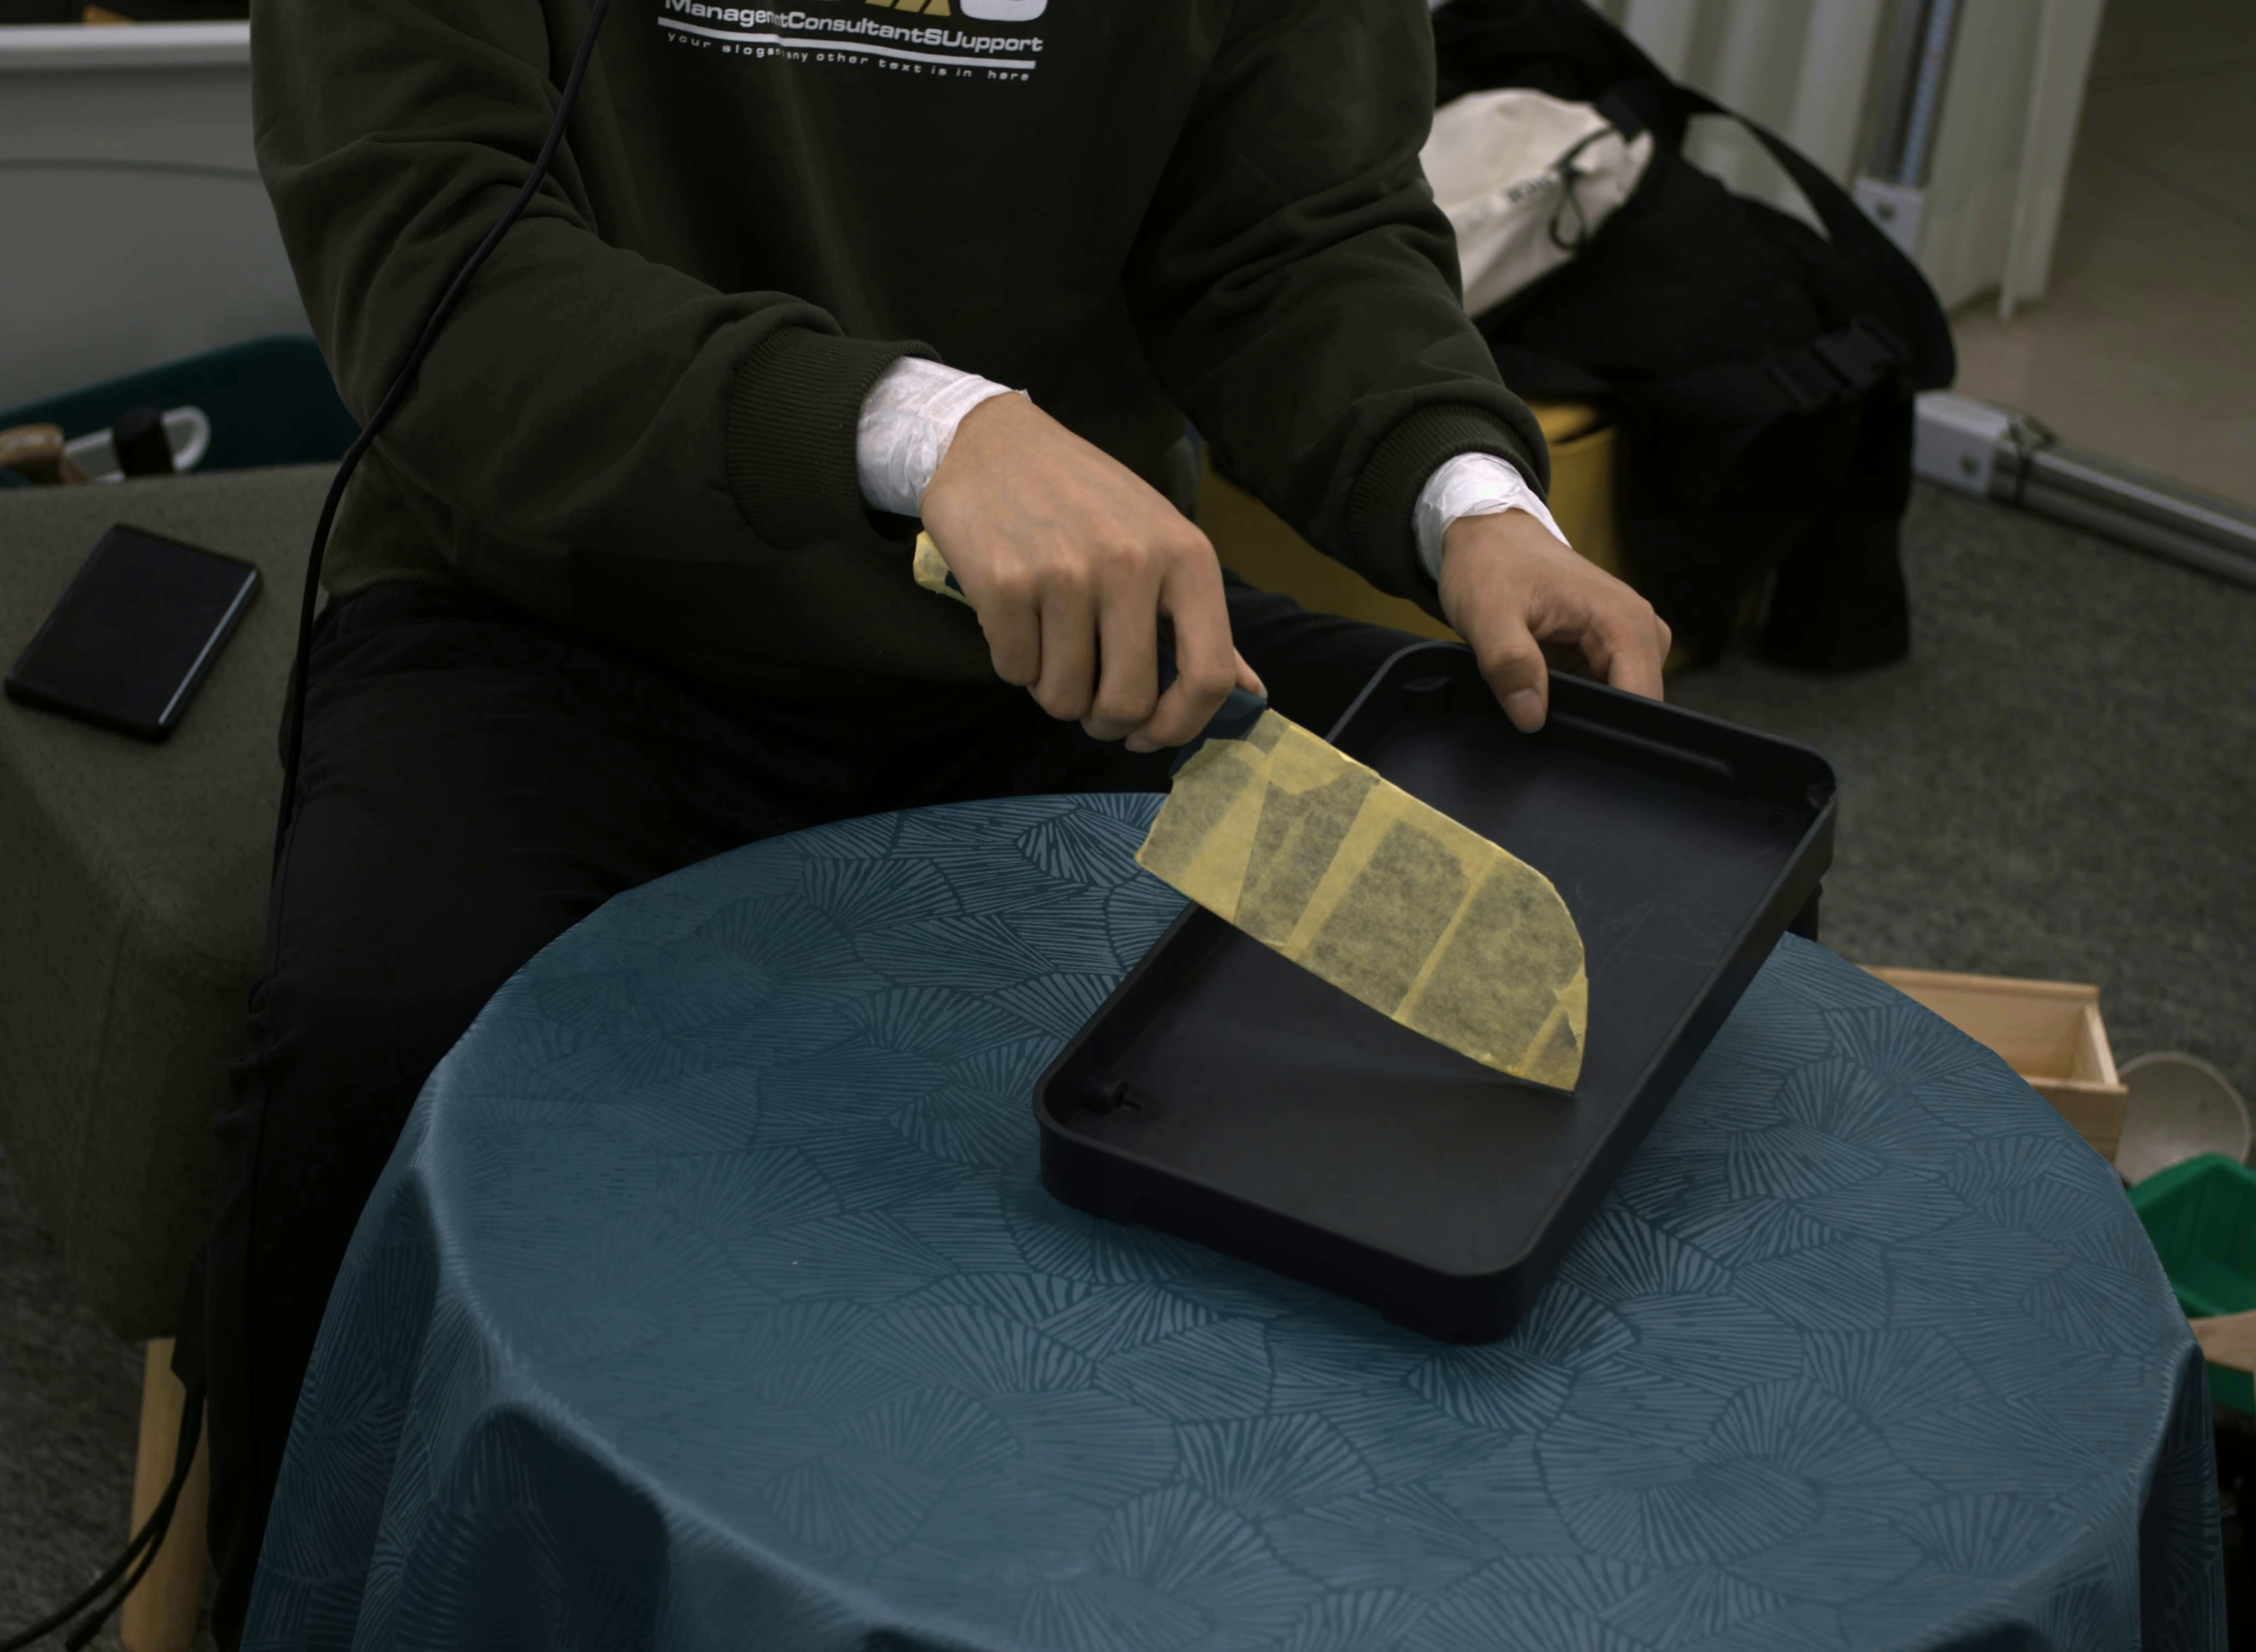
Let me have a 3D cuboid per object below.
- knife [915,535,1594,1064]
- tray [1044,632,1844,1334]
[{"bbox_3d":[0.040,-0.009,1.846,0.290,0.081,0.027,35,12,8],"label":"knife"},{"bbox_3d":[0.116,0.048,1.868,0.185,0.037,0.318,16,41,22],"label":"tray"}]
